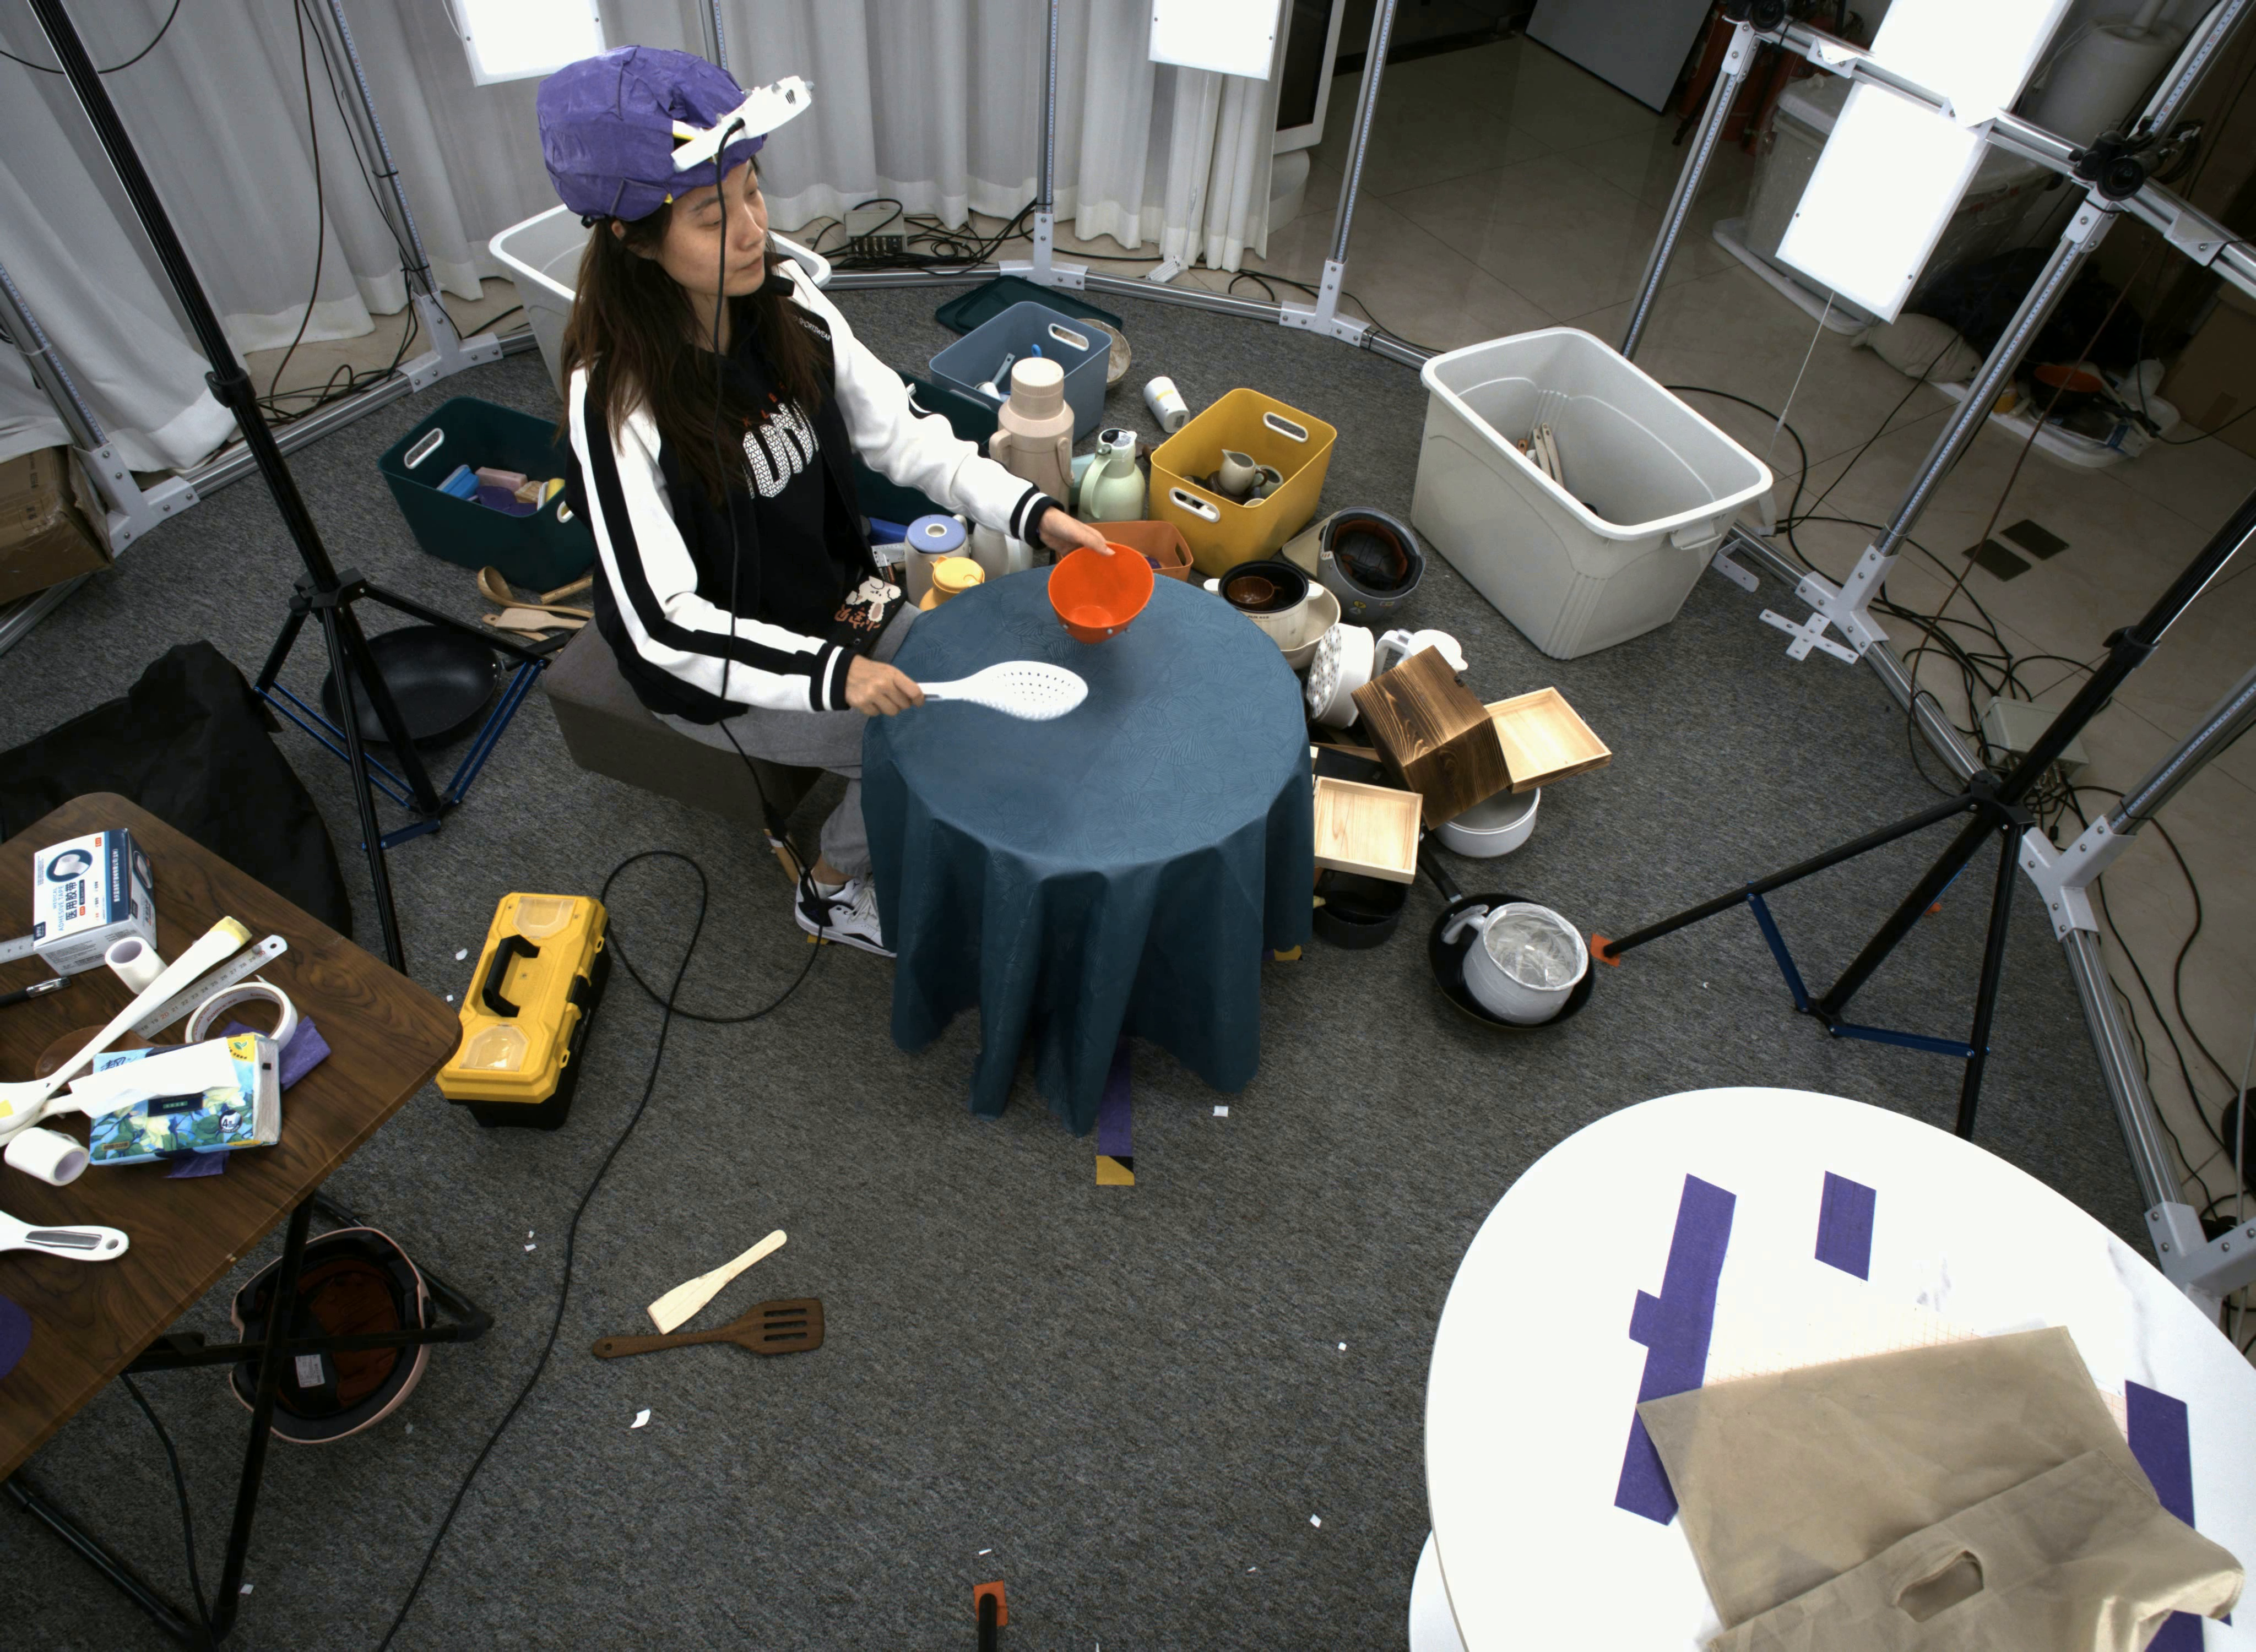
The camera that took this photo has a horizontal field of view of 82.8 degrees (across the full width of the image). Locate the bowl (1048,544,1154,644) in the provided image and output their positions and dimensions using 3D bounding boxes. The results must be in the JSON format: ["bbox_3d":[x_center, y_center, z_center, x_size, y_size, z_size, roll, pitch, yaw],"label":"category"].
[{"bbox_3d":[-0.040,-0.318,1.837,0.148,0.102,0.151,2,61,-3],"label":"bowl"}]

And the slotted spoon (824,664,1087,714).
[{"bbox_3d":[-0.223,-0.178,1.636,0.351,0.134,0.046,6,82,16],"label":"slotted spoon"}]
